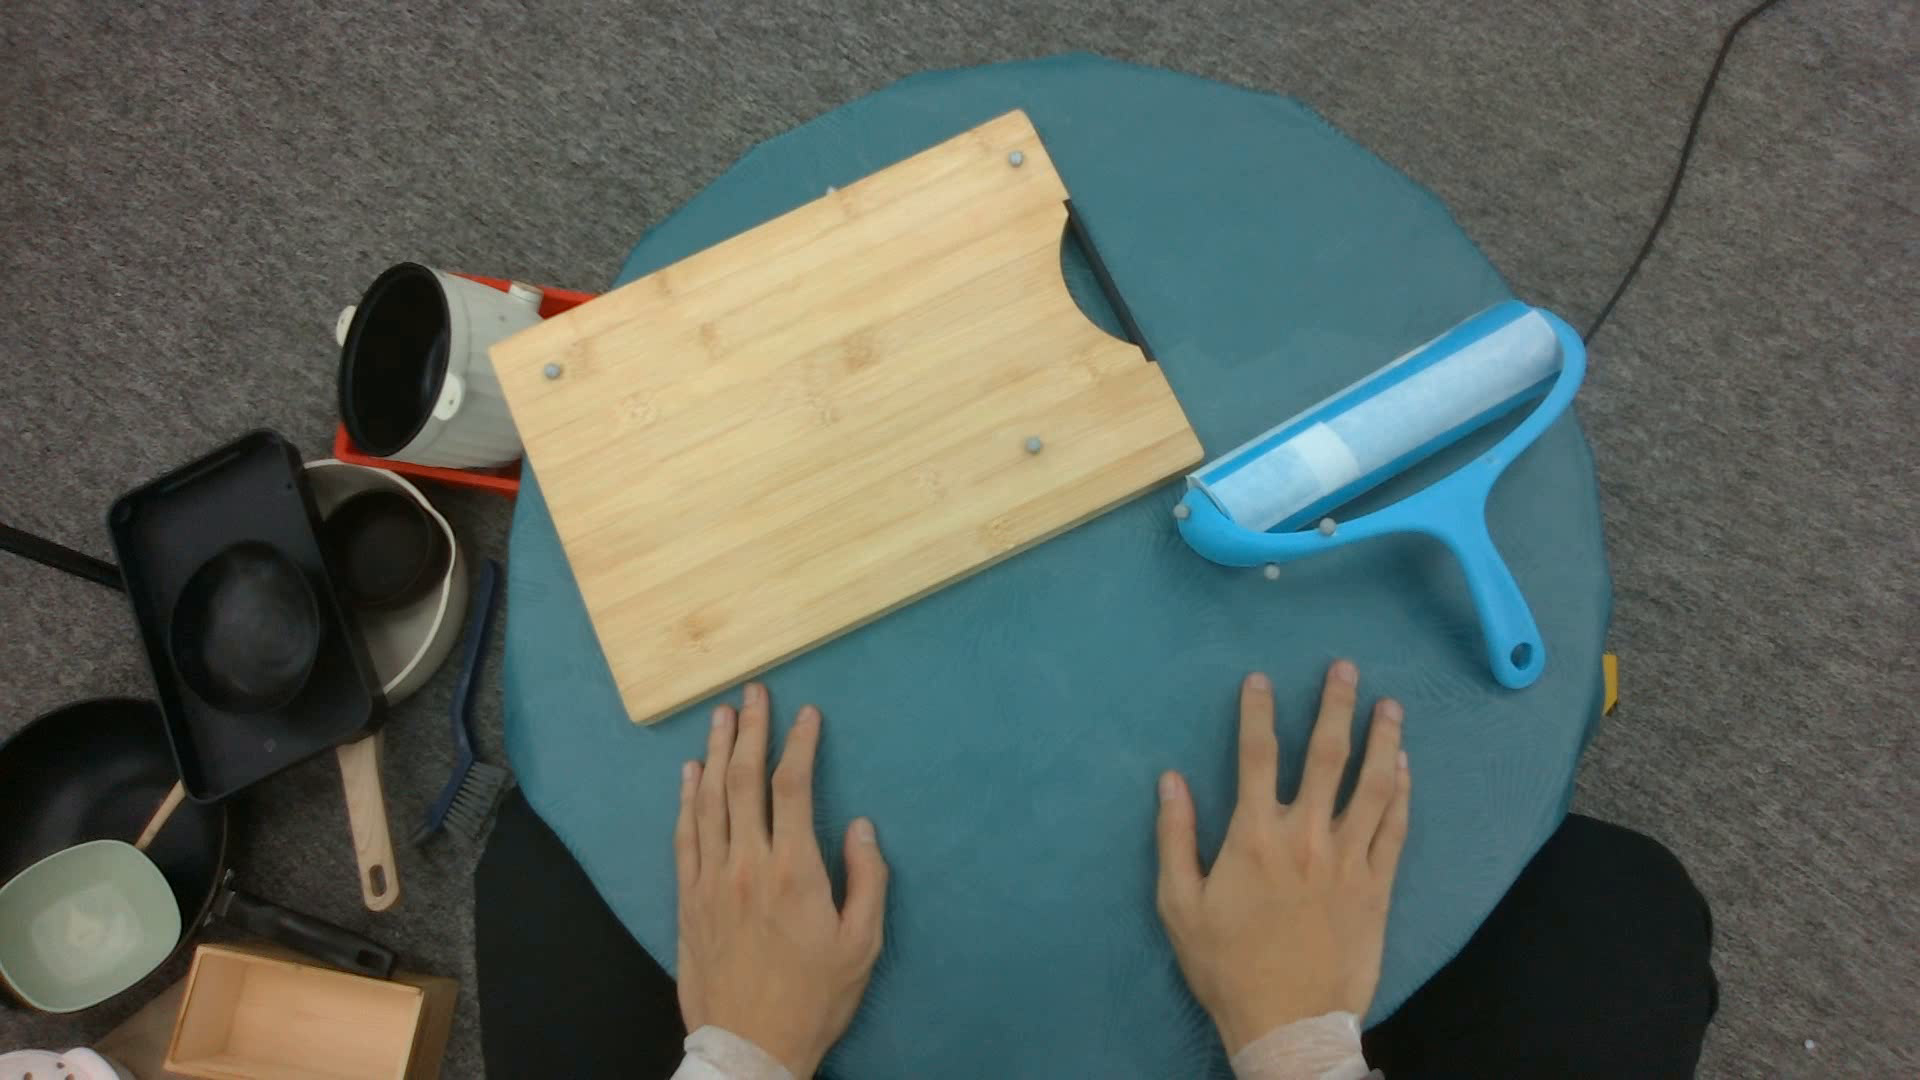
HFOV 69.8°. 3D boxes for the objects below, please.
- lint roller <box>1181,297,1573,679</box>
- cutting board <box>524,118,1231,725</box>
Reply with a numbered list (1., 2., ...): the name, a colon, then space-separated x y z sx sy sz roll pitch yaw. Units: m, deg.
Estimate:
1. lint roller: 0.251 -0.011 0.722 0.229 0.068 0.180 -33 74 -4
2. cutting board: -0.057 -0.074 0.791 0.349 0.023 0.251 -26 75 -1
